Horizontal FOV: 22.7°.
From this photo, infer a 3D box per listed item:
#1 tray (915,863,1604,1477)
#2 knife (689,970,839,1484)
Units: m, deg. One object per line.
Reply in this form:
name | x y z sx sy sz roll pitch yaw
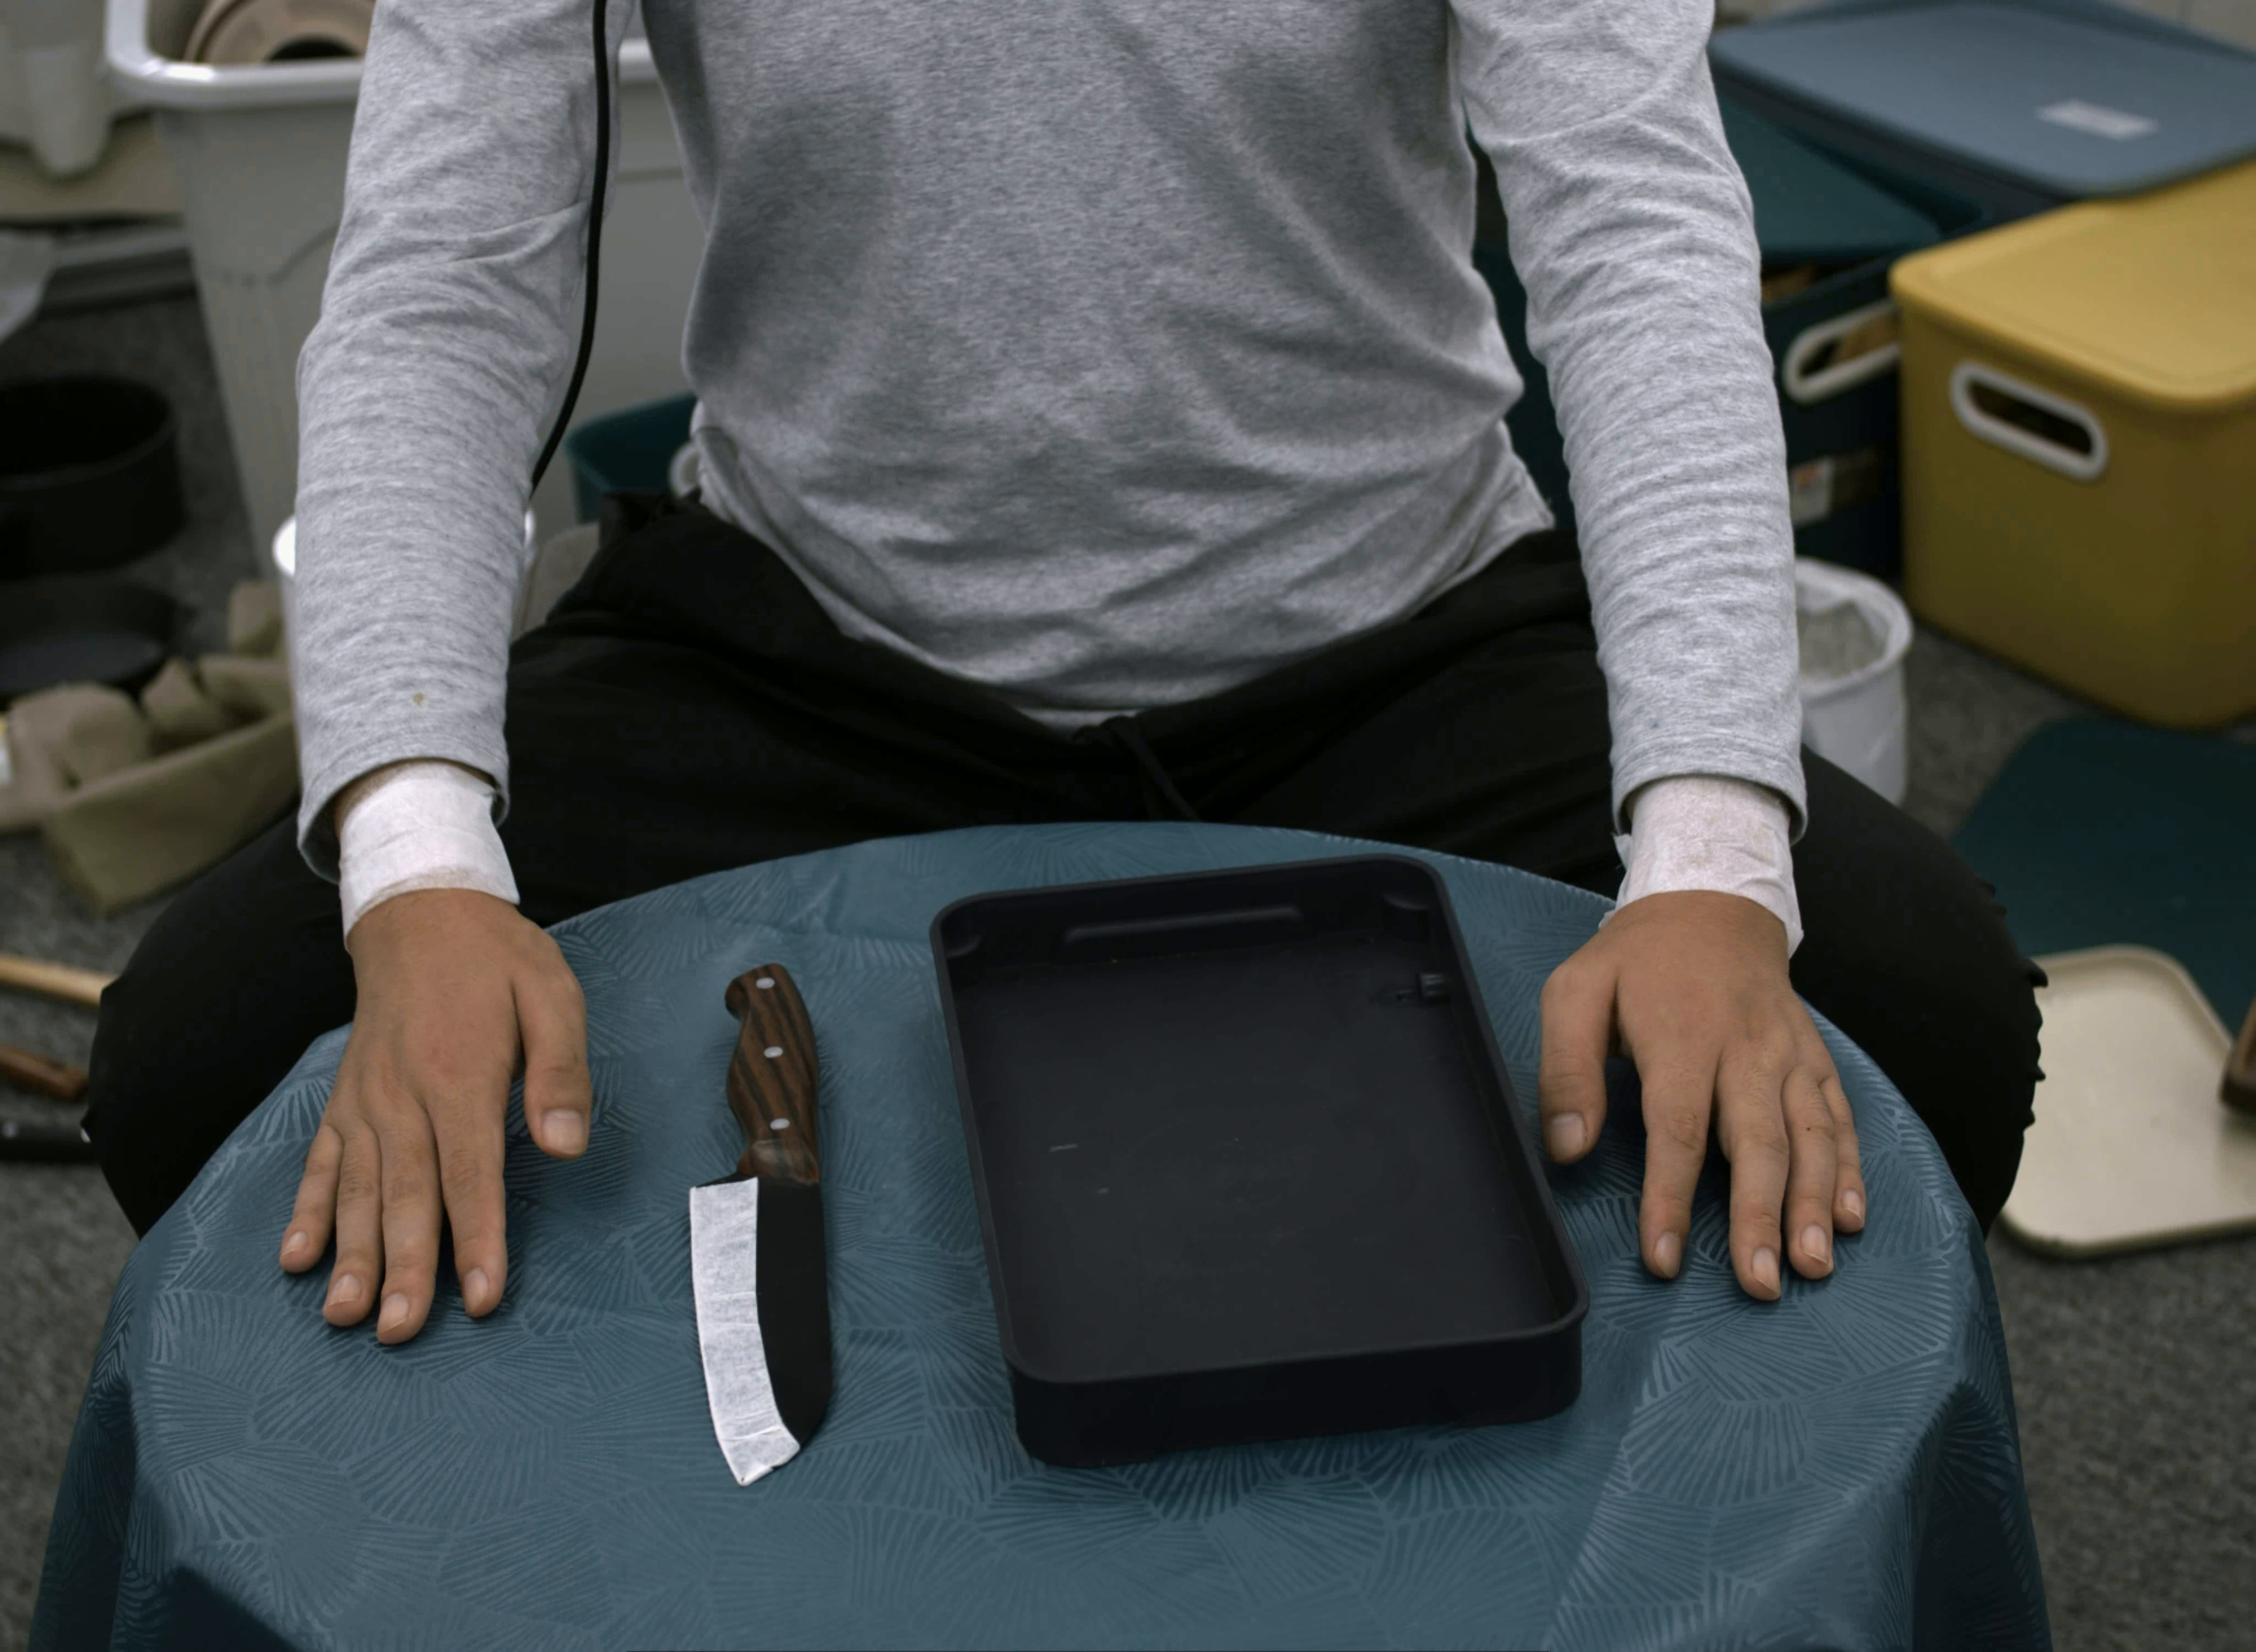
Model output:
tray | 0.037 0.107 1.849 0.184 0.036 0.322 -6 27 -7
knife | -0.120 0.129 1.842 0.050 0.020 0.293 -7 30 1
